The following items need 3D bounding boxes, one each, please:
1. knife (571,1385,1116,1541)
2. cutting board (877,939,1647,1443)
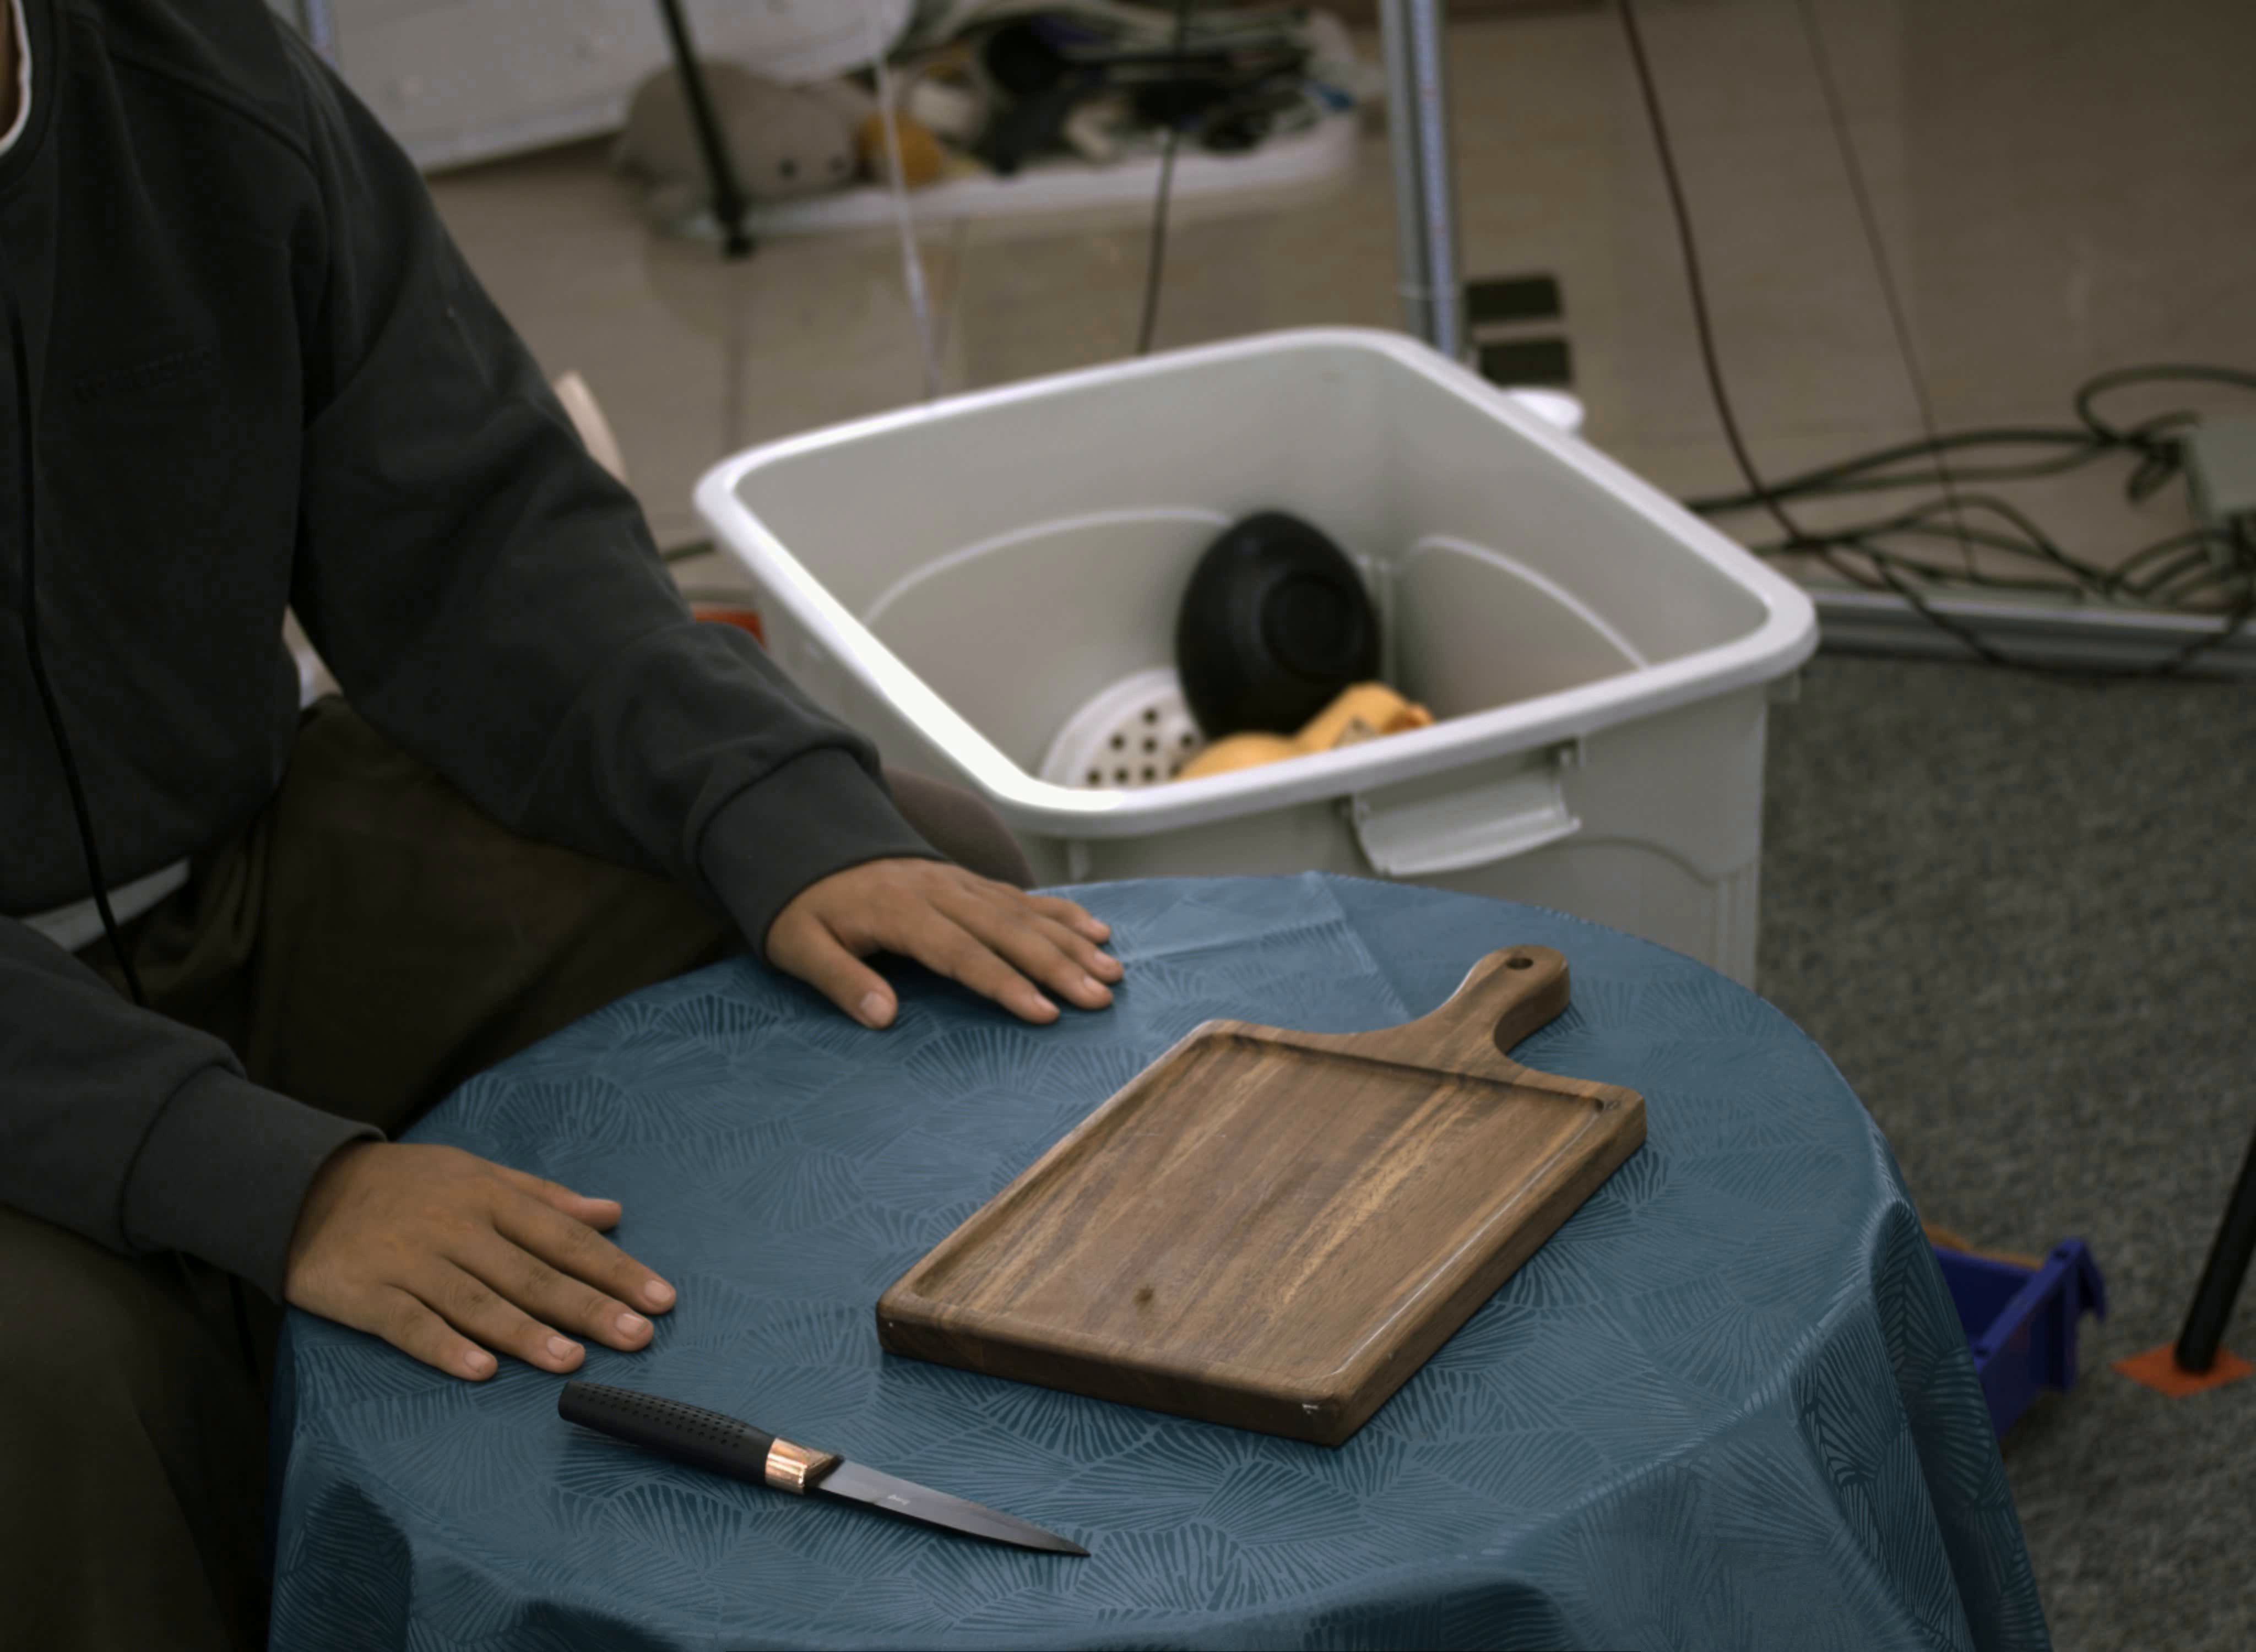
[{"bbox_3d":[-0.102,0.224,1.976,0.224,0.017,0.026,11,24,32],"label":"knife"},{"bbox_3d":[0.077,0.124,2.135,0.200,0.023,0.348,9,29,30],"label":"cutting board"}]
